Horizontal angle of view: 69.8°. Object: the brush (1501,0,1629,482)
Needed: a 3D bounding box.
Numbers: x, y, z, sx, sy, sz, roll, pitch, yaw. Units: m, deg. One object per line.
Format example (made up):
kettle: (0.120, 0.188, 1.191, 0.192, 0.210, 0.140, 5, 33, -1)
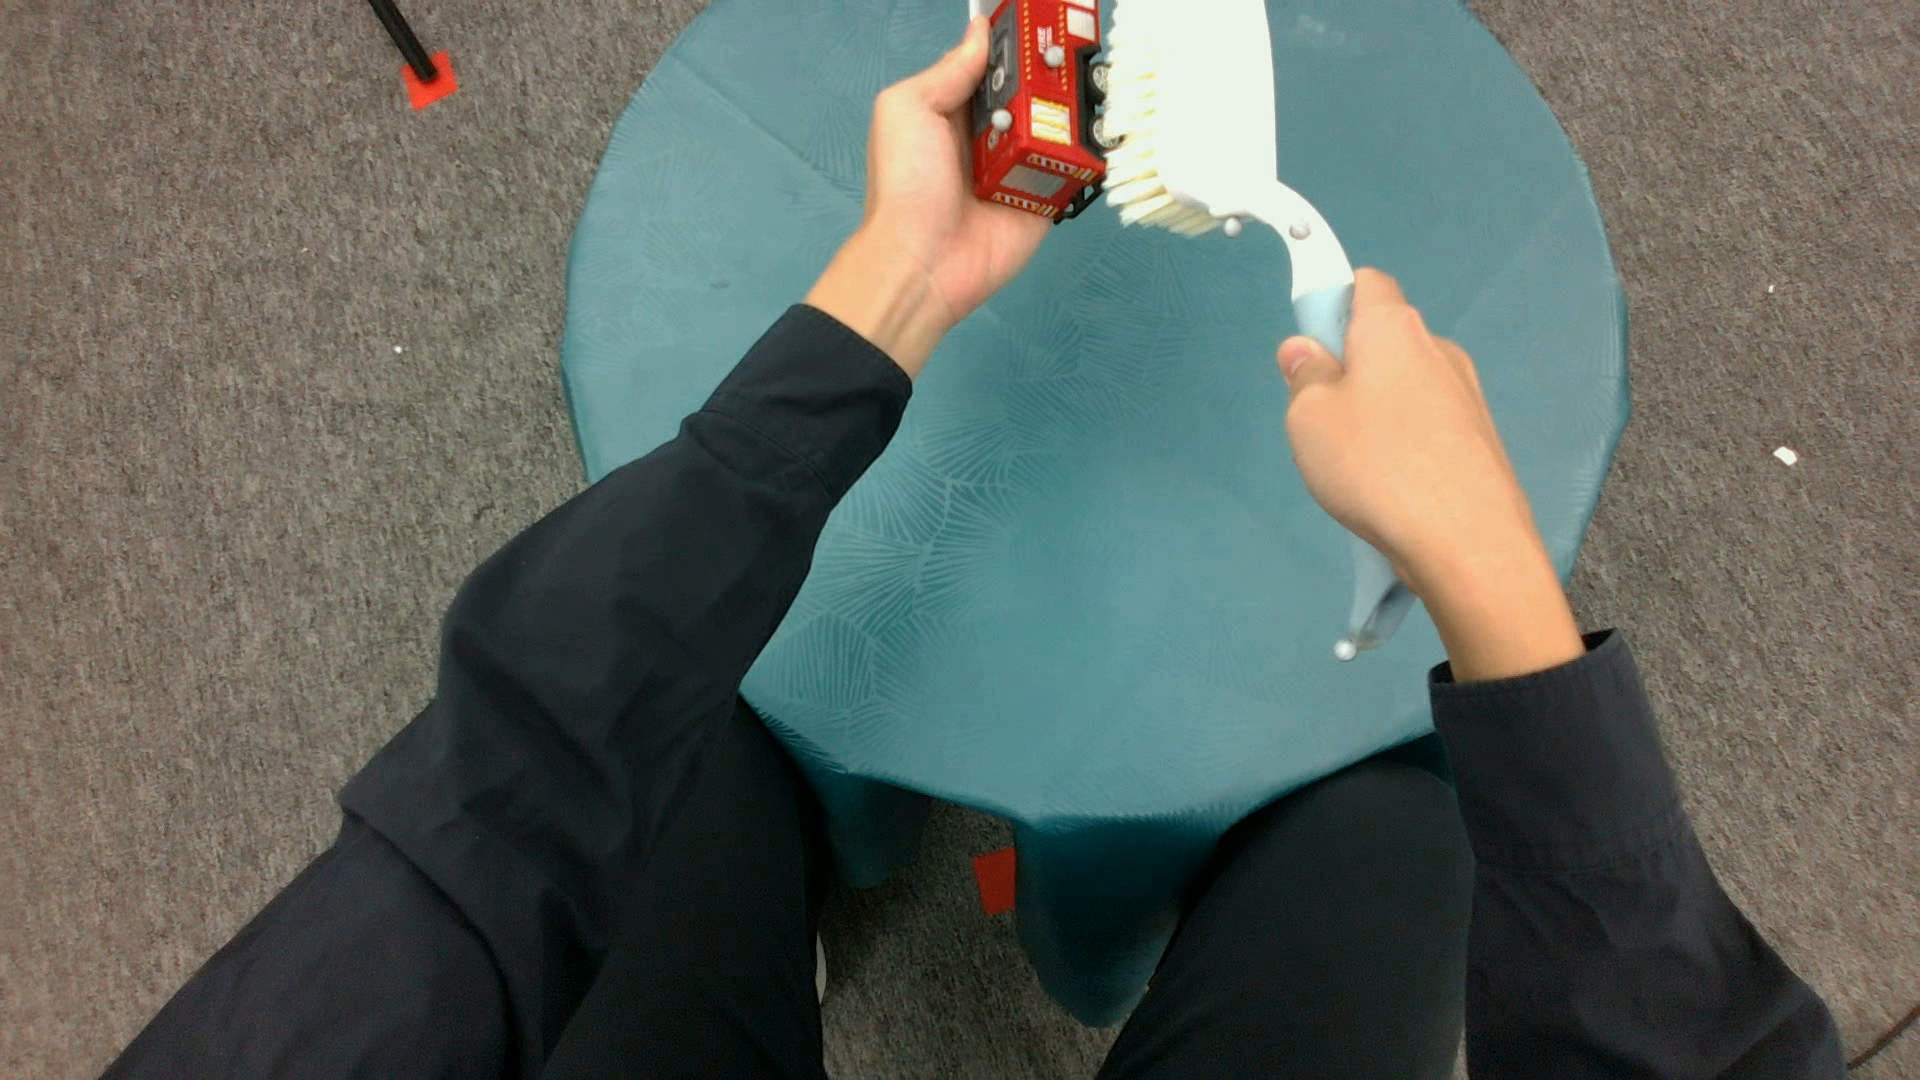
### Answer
brush: (0.196, -0.183, 0.515, 0.083, 0.084, 0.325, 8, 86, -2)
